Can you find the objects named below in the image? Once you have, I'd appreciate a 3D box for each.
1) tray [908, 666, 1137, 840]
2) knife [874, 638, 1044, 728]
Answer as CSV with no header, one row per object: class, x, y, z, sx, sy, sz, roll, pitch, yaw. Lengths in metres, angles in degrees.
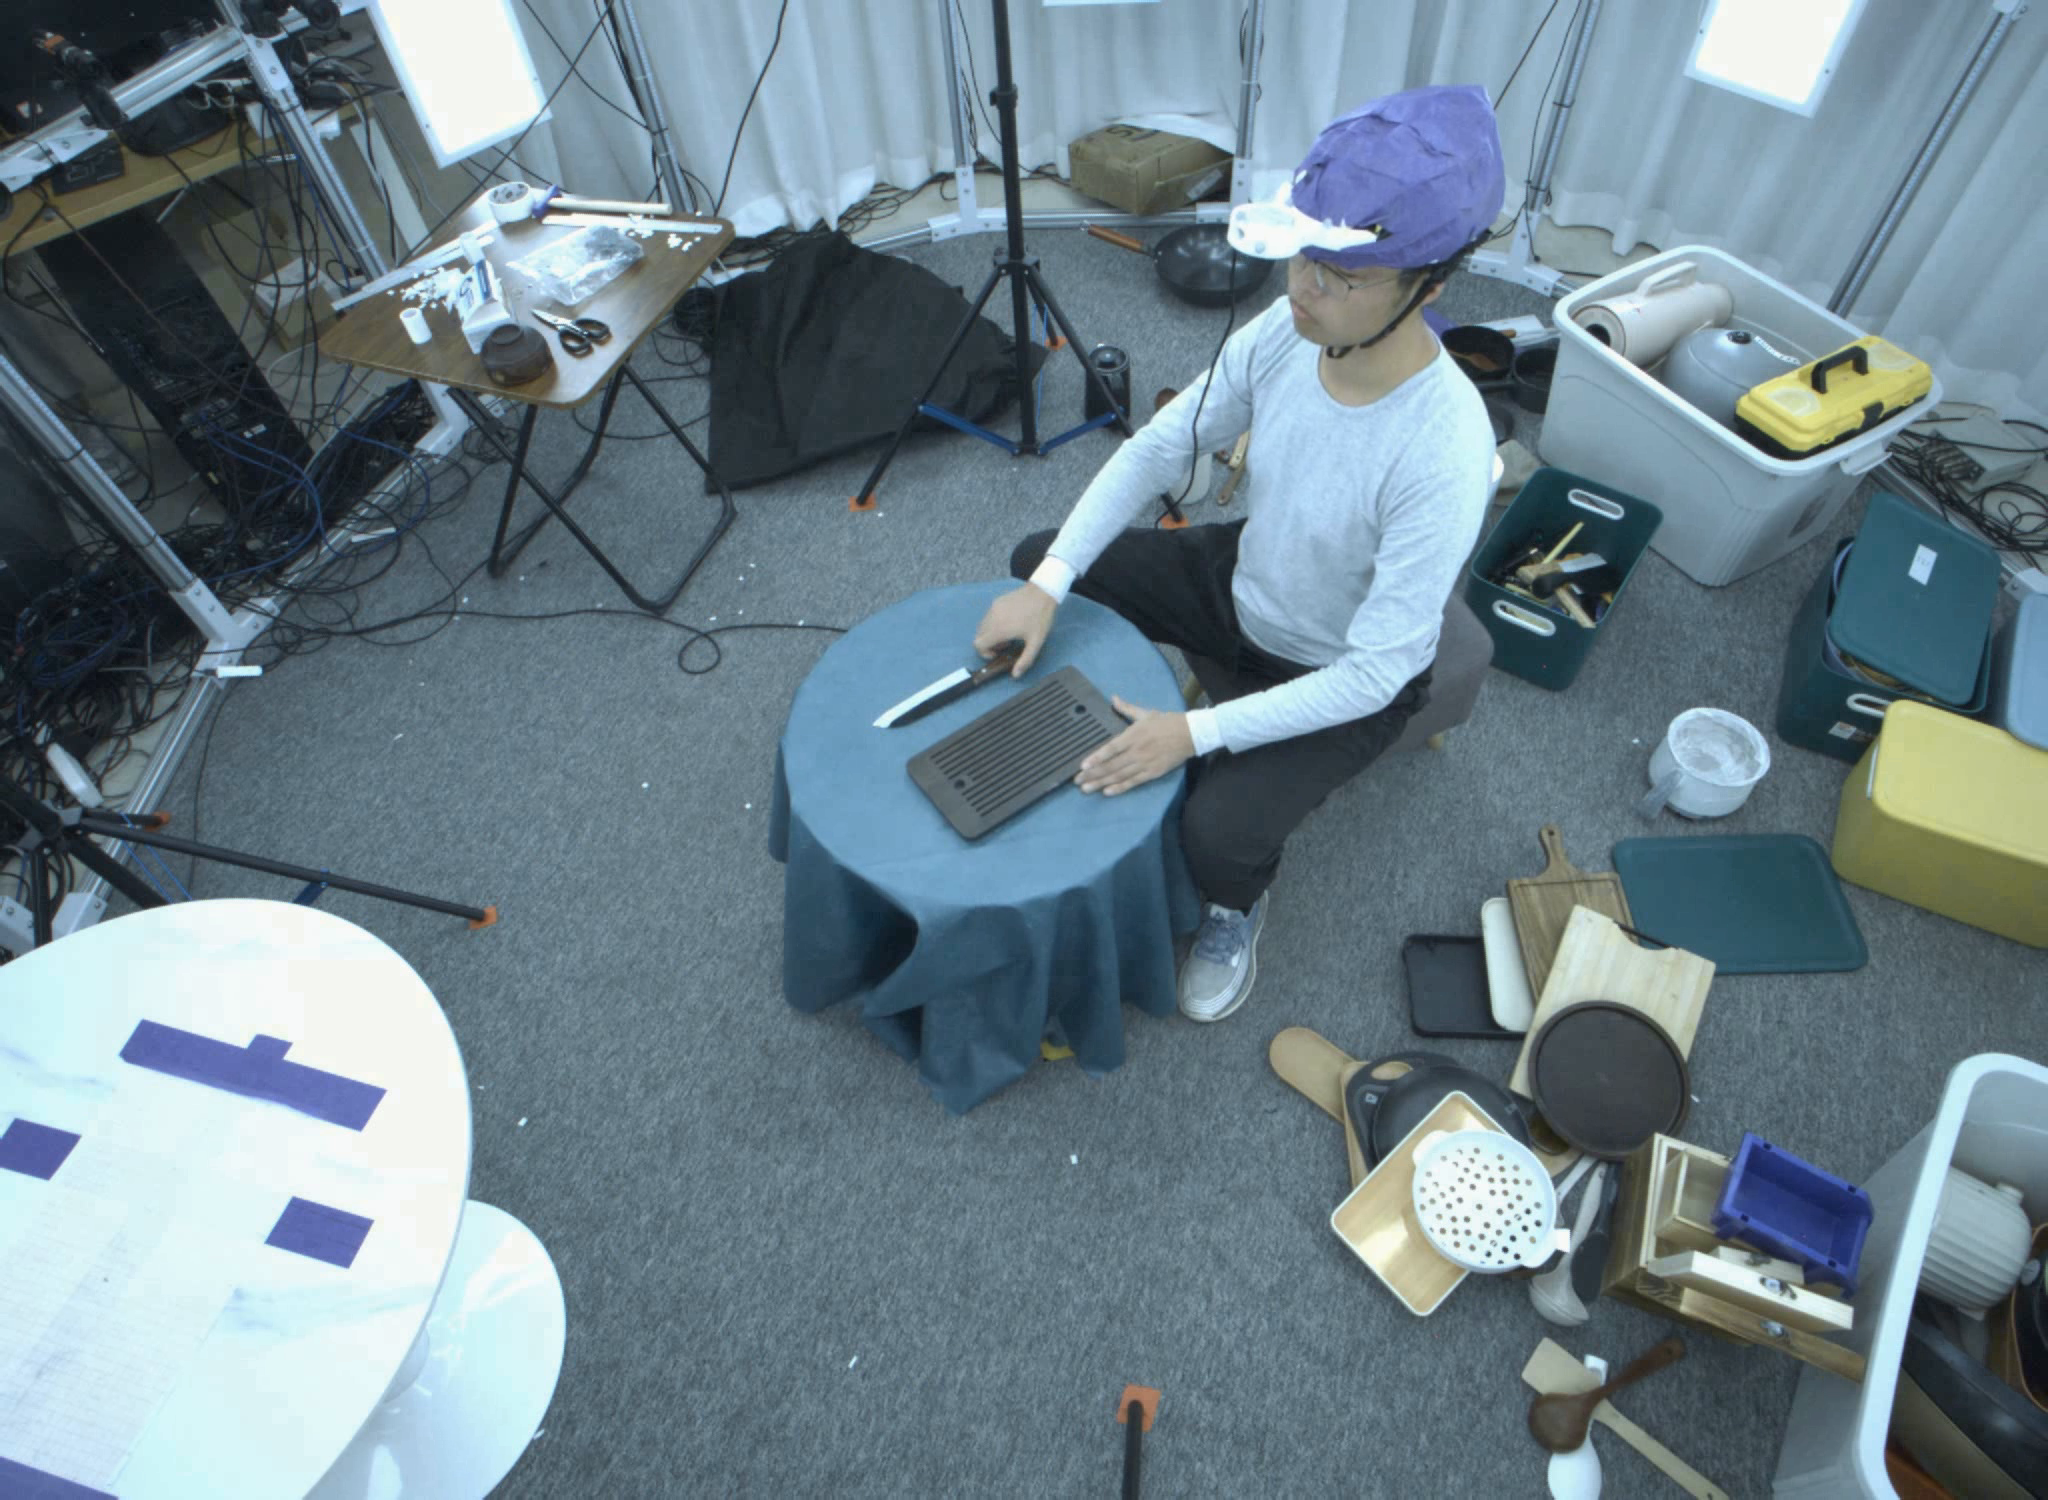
tray,-0.001,0.001,1.784,0.308,0.019,0.167,-31,59,-20
knife,-0.098,-0.100,1.860,0.291,0.020,0.049,-28,53,-14
